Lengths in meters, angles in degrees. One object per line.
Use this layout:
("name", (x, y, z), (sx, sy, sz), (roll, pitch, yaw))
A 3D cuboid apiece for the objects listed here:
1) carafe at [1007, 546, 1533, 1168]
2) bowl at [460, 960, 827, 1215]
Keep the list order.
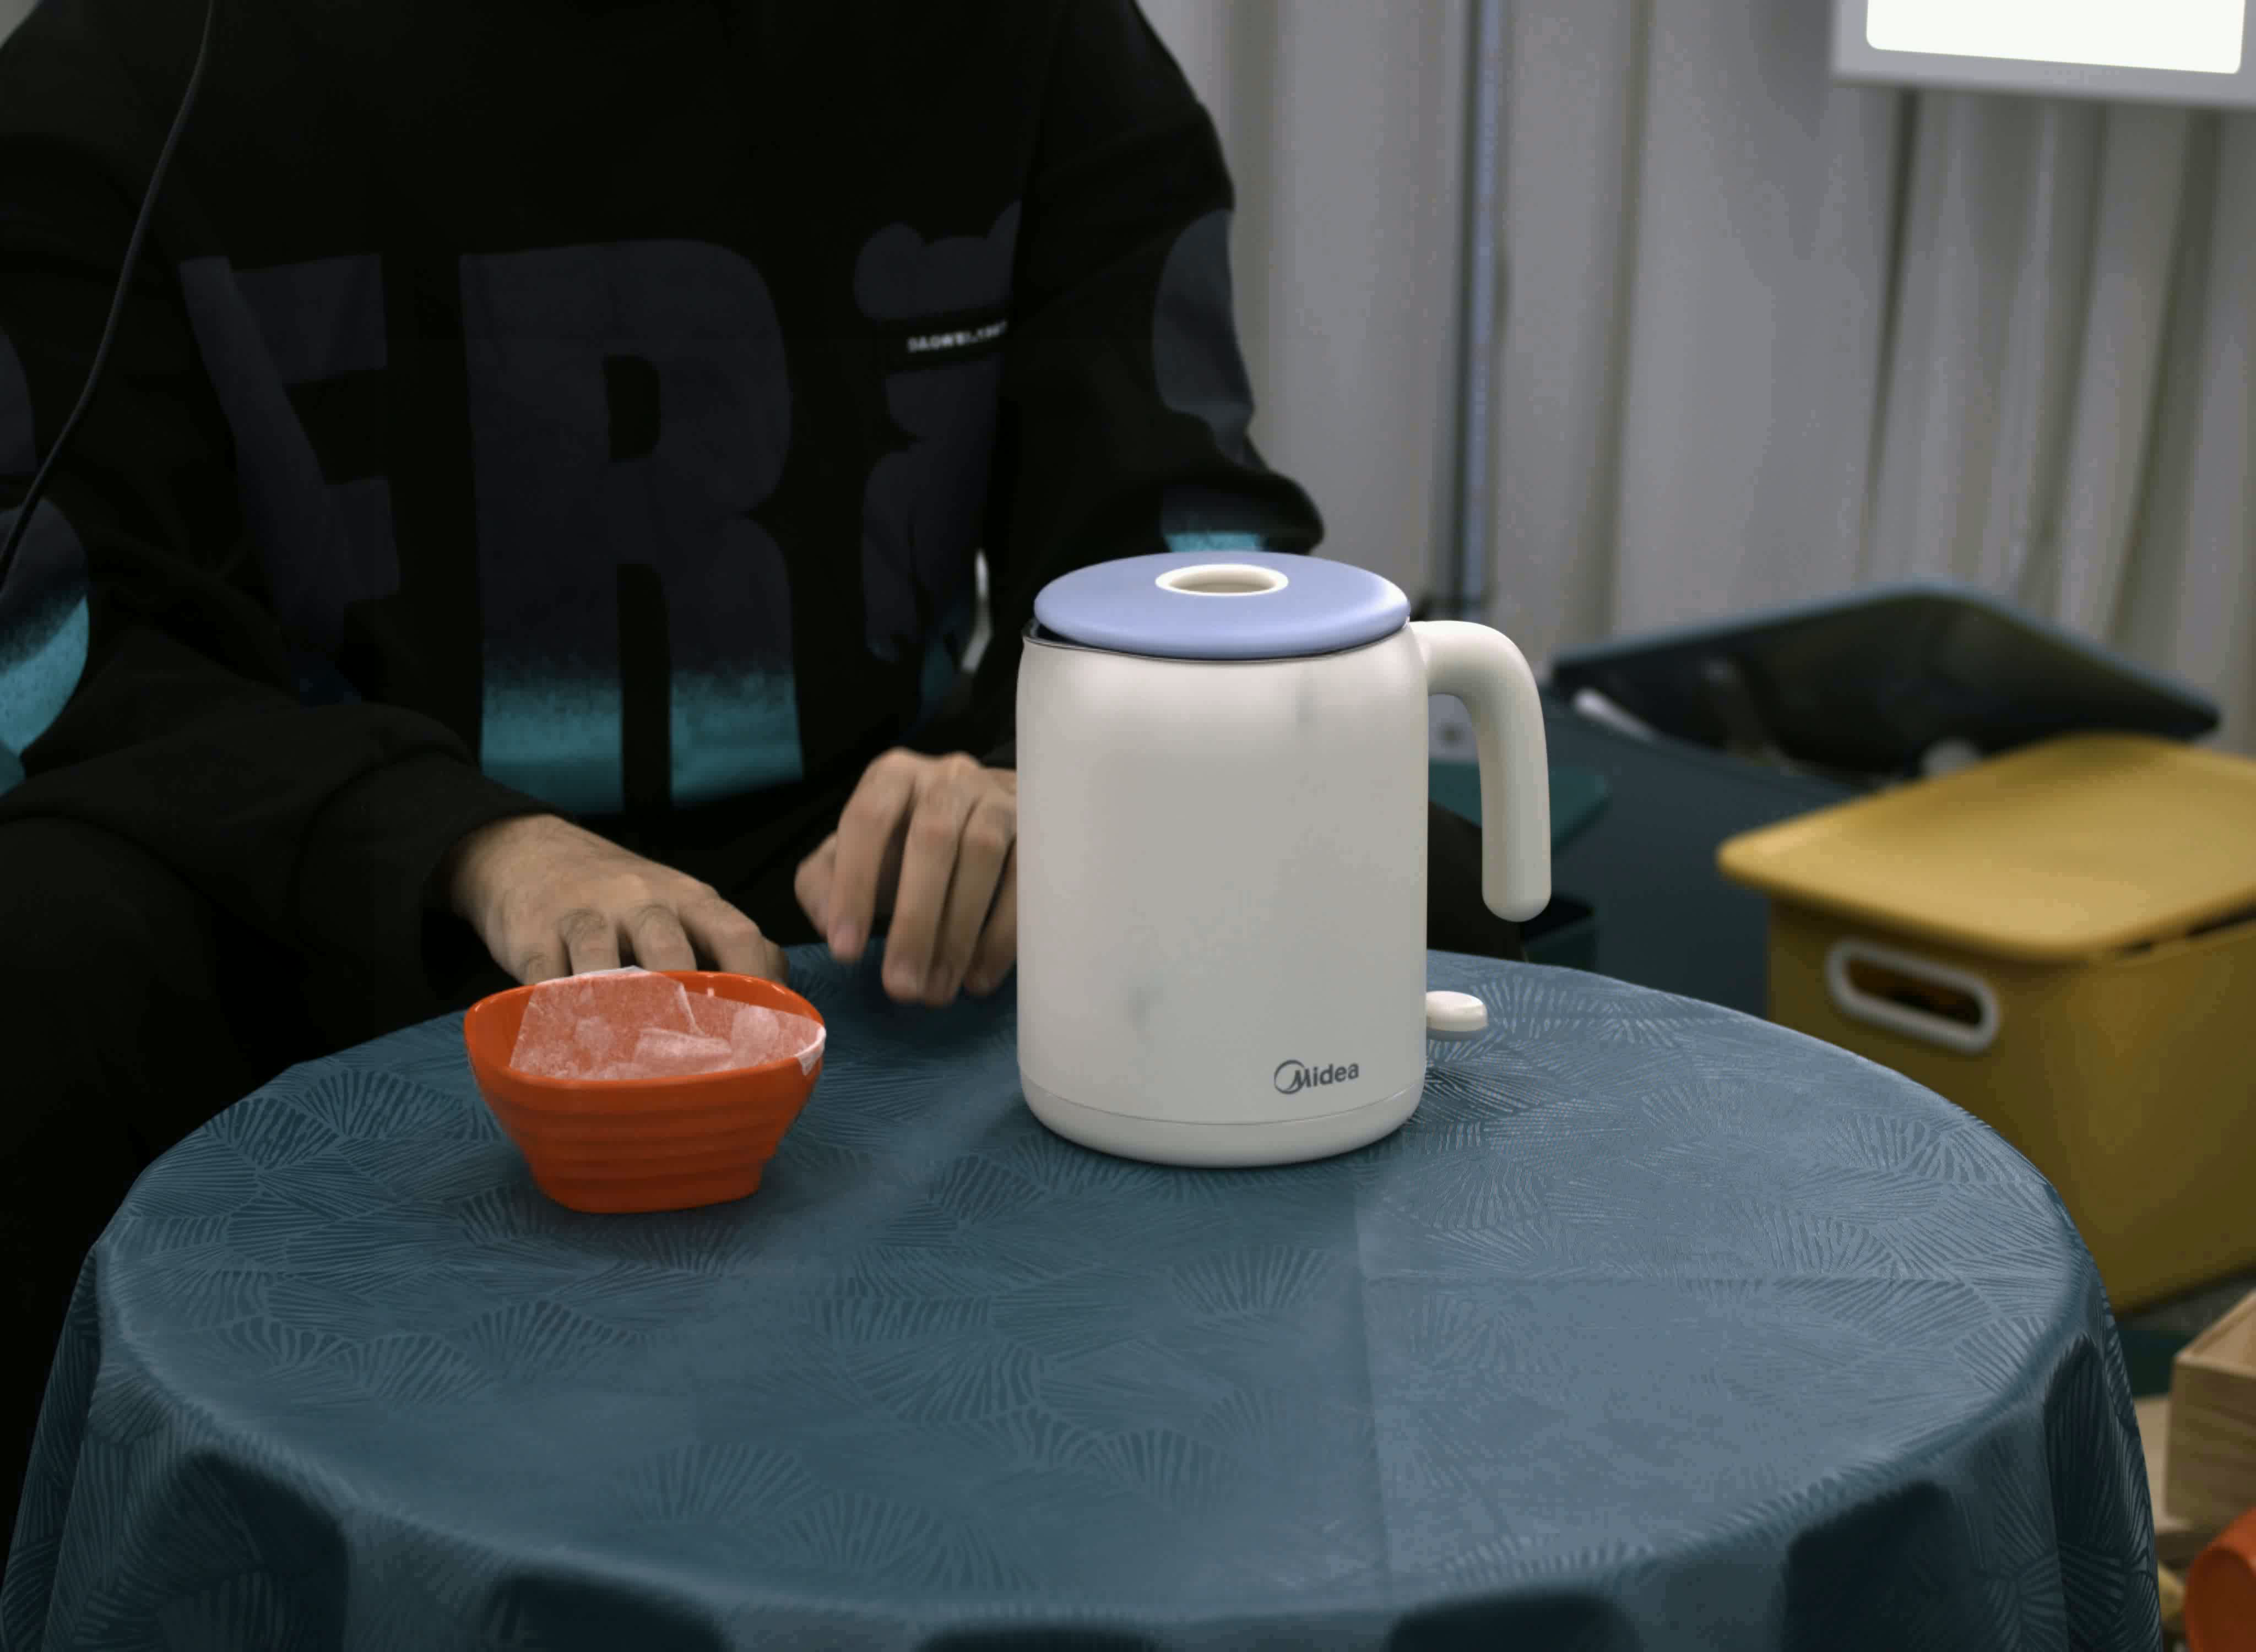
("carafe", (0.050, 0.007, 1.683), (0.192, 0.184, 0.130), (-6, 18, -28))
("bowl", (-0.149, 0.083, 1.621), (0.118, 0.052, 0.118), (0, 18, 1))
